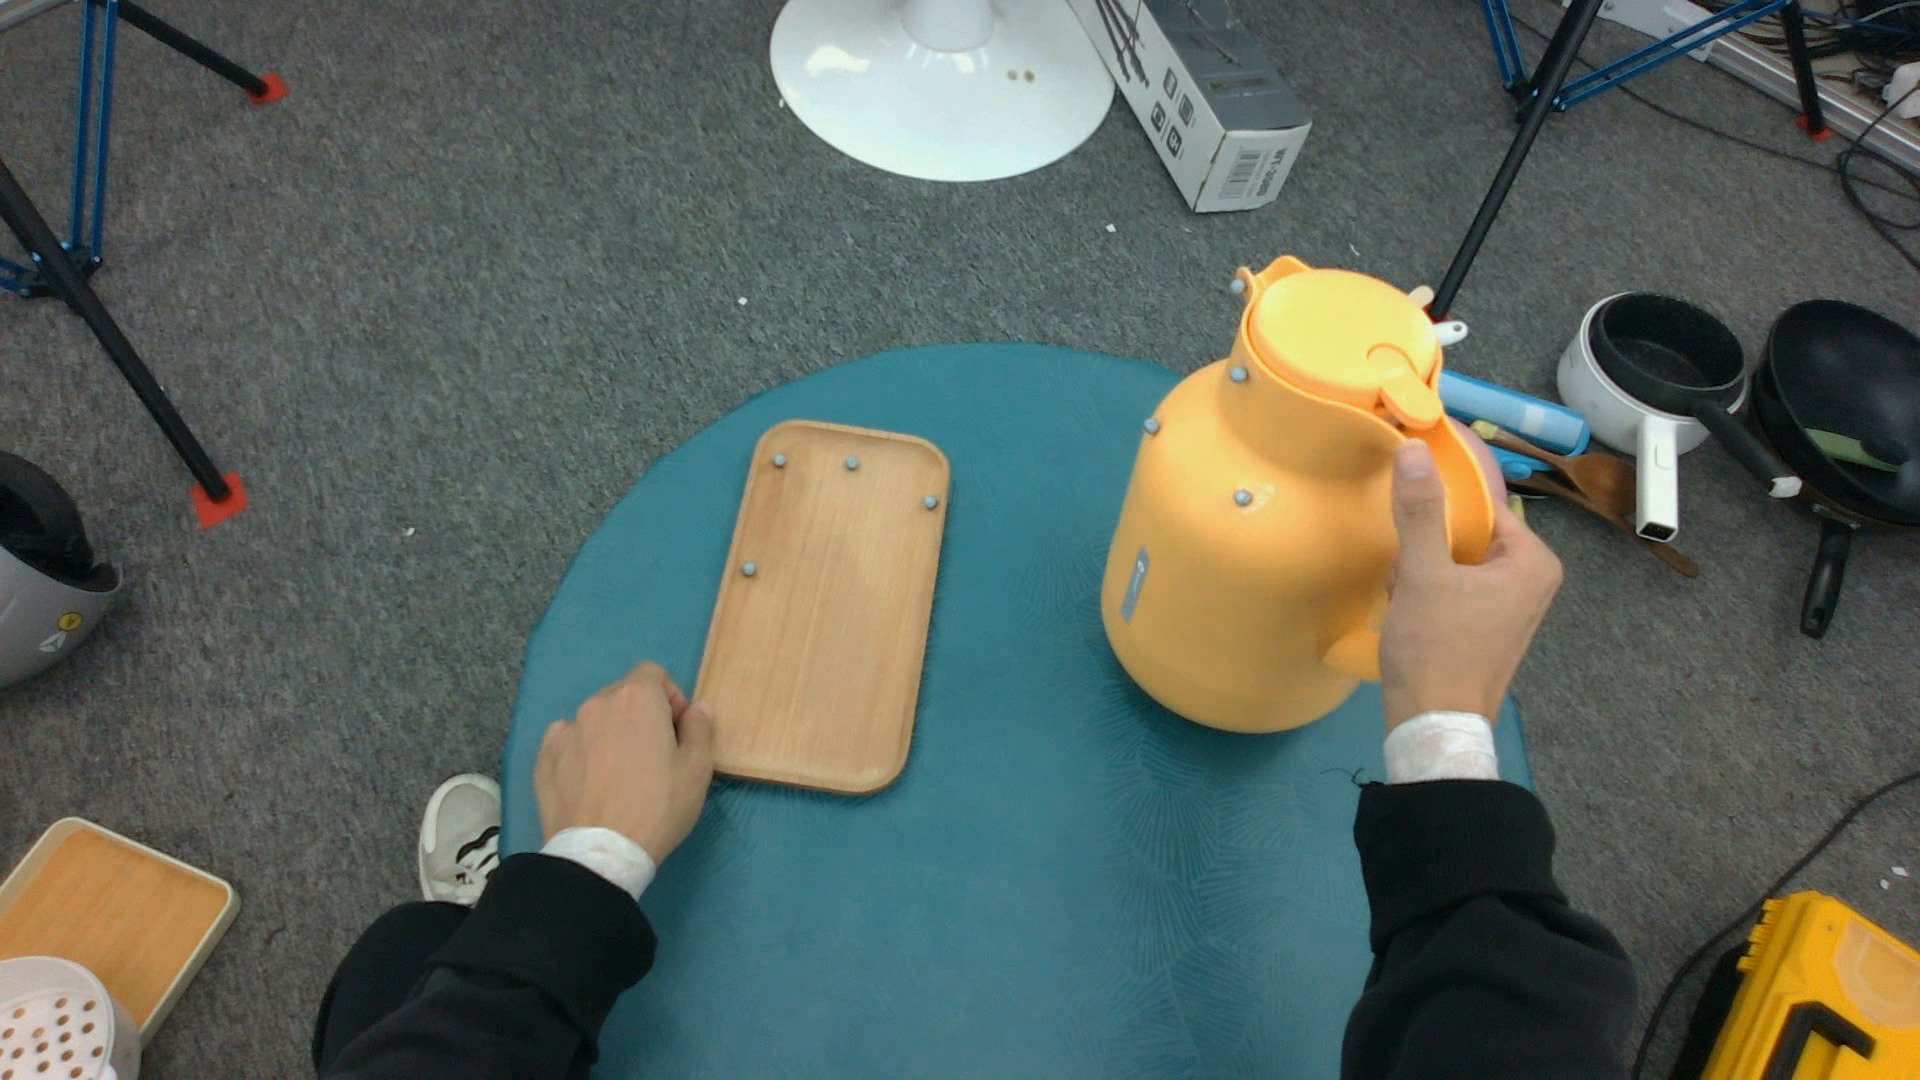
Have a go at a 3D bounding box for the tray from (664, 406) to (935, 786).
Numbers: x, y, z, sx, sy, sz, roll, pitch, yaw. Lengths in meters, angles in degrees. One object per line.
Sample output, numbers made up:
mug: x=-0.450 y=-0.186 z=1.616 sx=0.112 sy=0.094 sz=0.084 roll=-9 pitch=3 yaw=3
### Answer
tray: x=-0.091 y=0.027 z=0.832 sx=0.130 sy=0.023 sz=0.252 roll=8 pitch=58 yaw=1

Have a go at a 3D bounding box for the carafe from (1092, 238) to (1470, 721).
carafe: x=0.172 y=-0.016 z=0.735 sx=0.164 sy=0.259 sz=0.203 roll=-16 pitch=50 yaw=-18
